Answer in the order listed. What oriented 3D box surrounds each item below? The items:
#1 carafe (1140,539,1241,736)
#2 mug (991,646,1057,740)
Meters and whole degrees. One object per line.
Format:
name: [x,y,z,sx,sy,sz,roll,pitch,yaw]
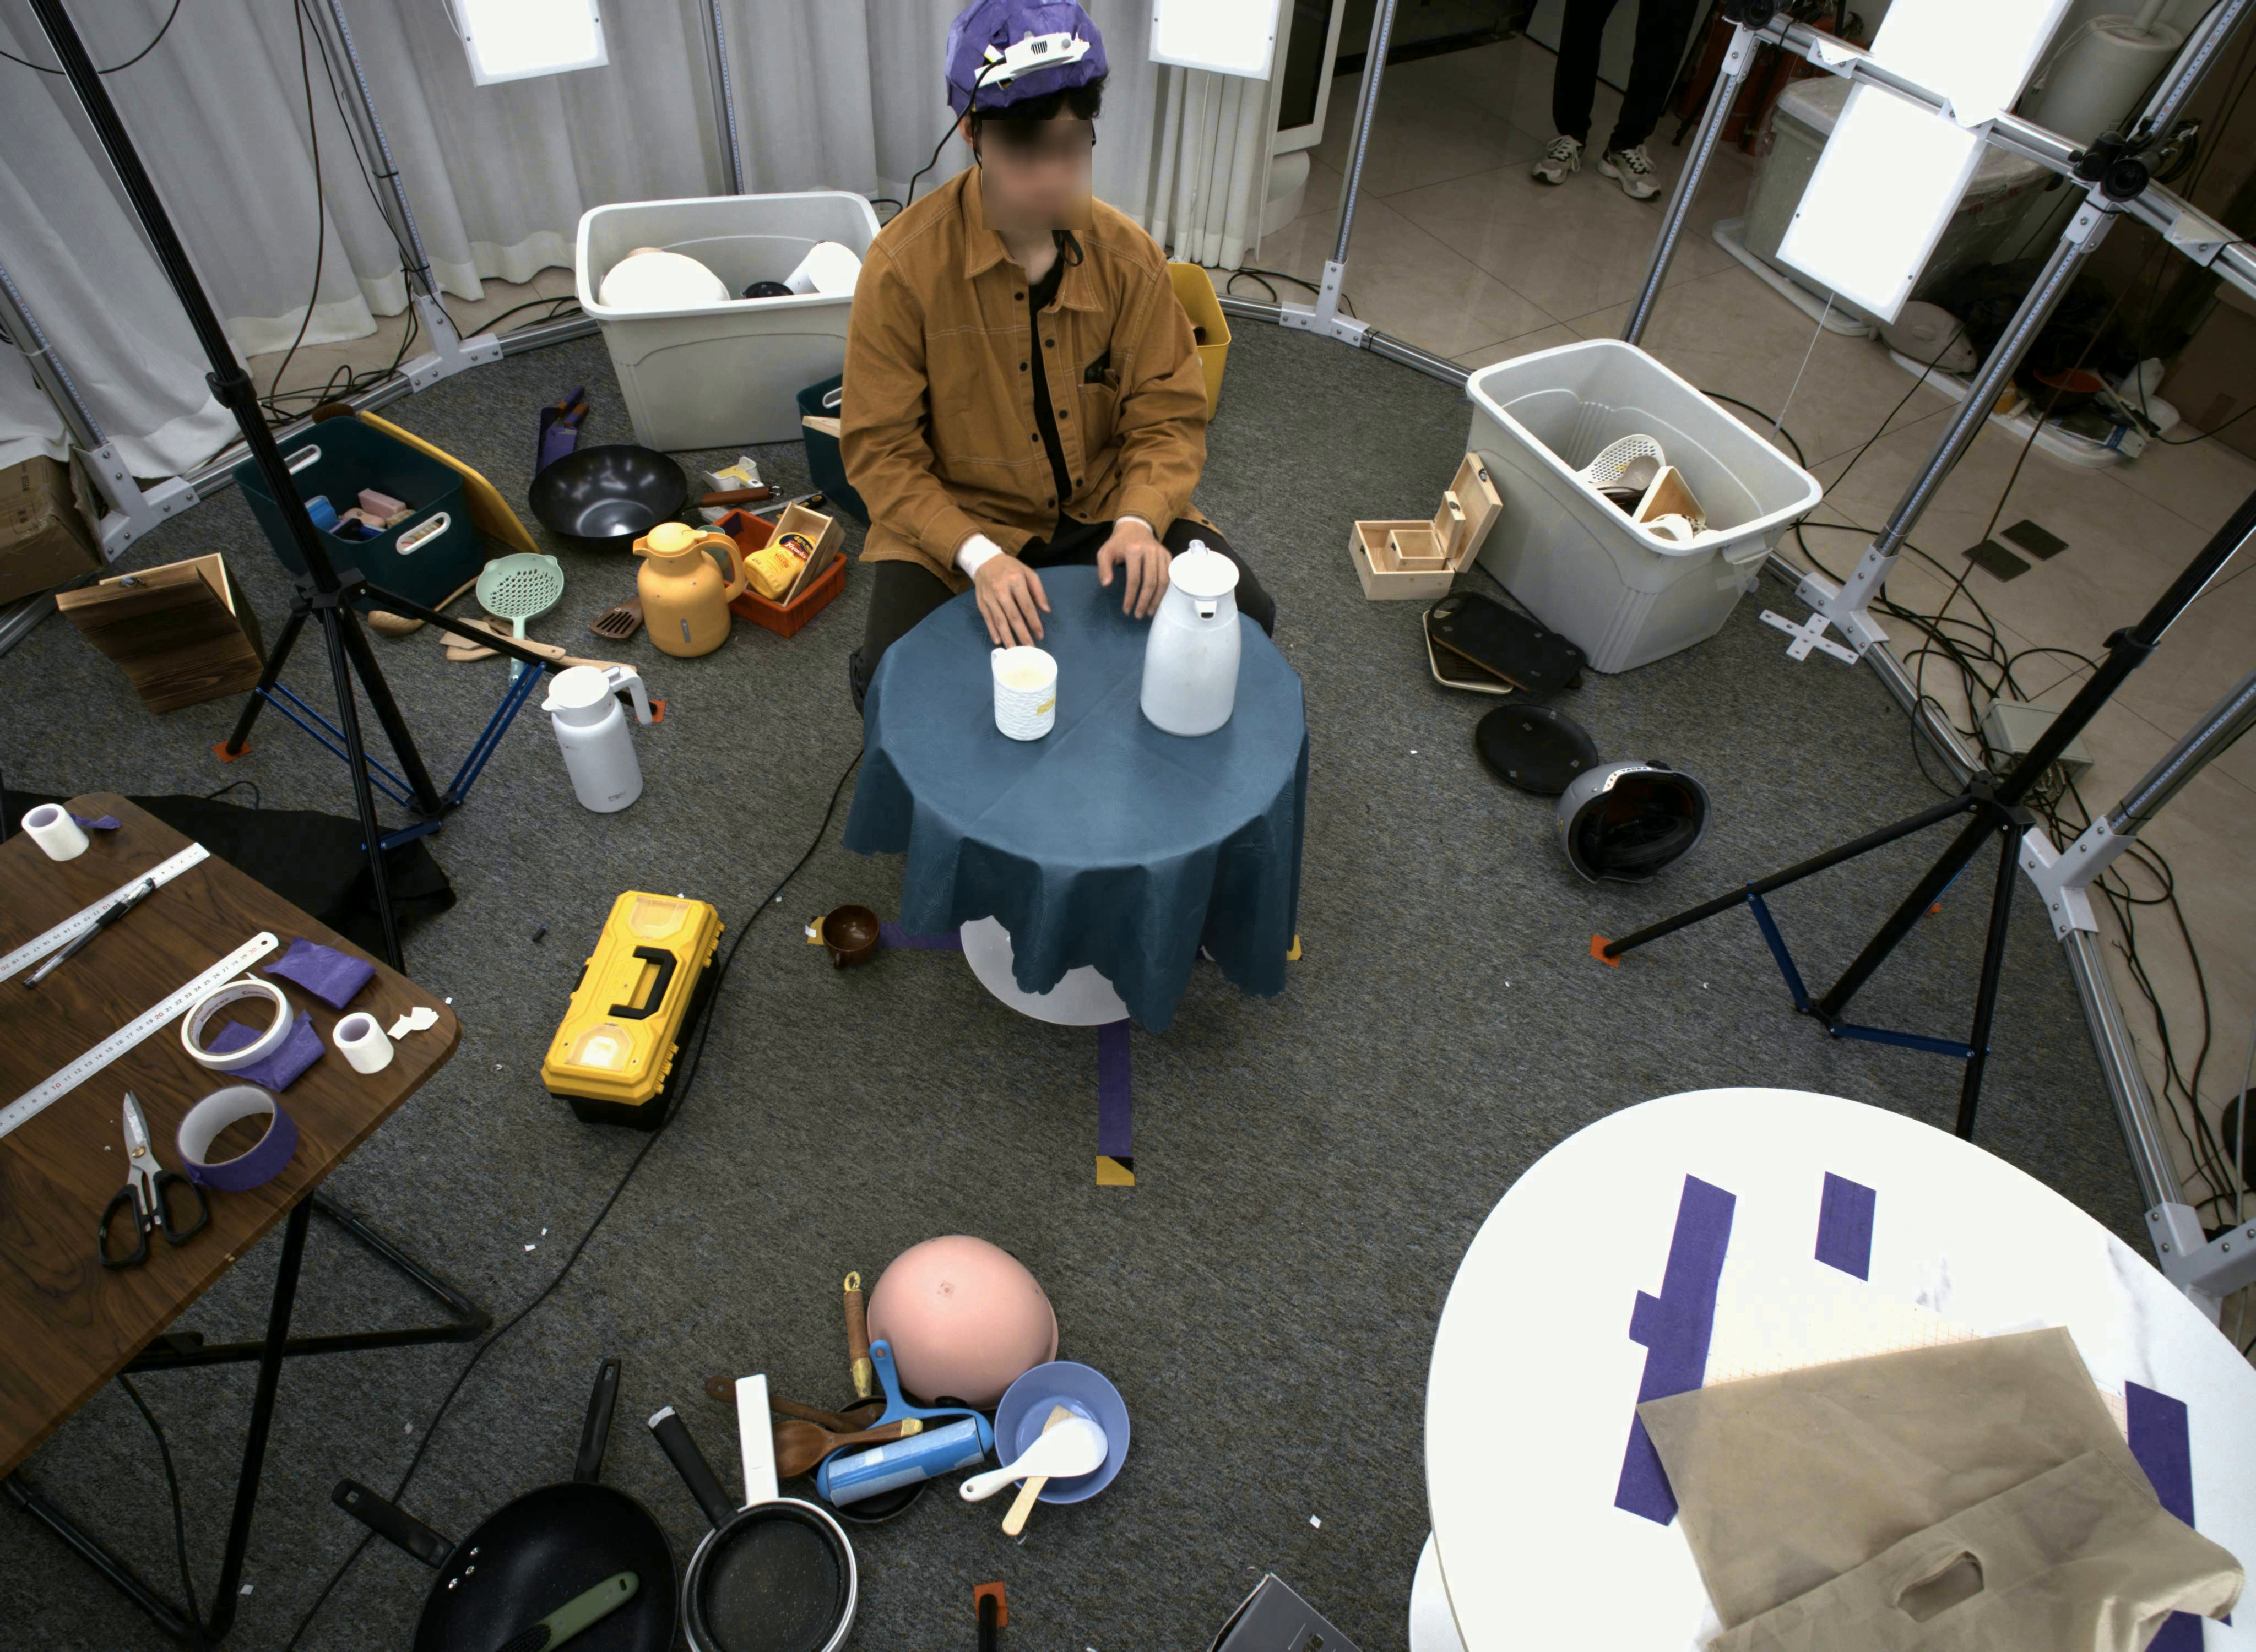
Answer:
carafe: [0.086,-0.267,1.746,0.132,0.242,0.172,-3,49,-5]
mug: [-0.150,-0.189,1.758,0.085,0.099,0.120,-28,57,-25]
